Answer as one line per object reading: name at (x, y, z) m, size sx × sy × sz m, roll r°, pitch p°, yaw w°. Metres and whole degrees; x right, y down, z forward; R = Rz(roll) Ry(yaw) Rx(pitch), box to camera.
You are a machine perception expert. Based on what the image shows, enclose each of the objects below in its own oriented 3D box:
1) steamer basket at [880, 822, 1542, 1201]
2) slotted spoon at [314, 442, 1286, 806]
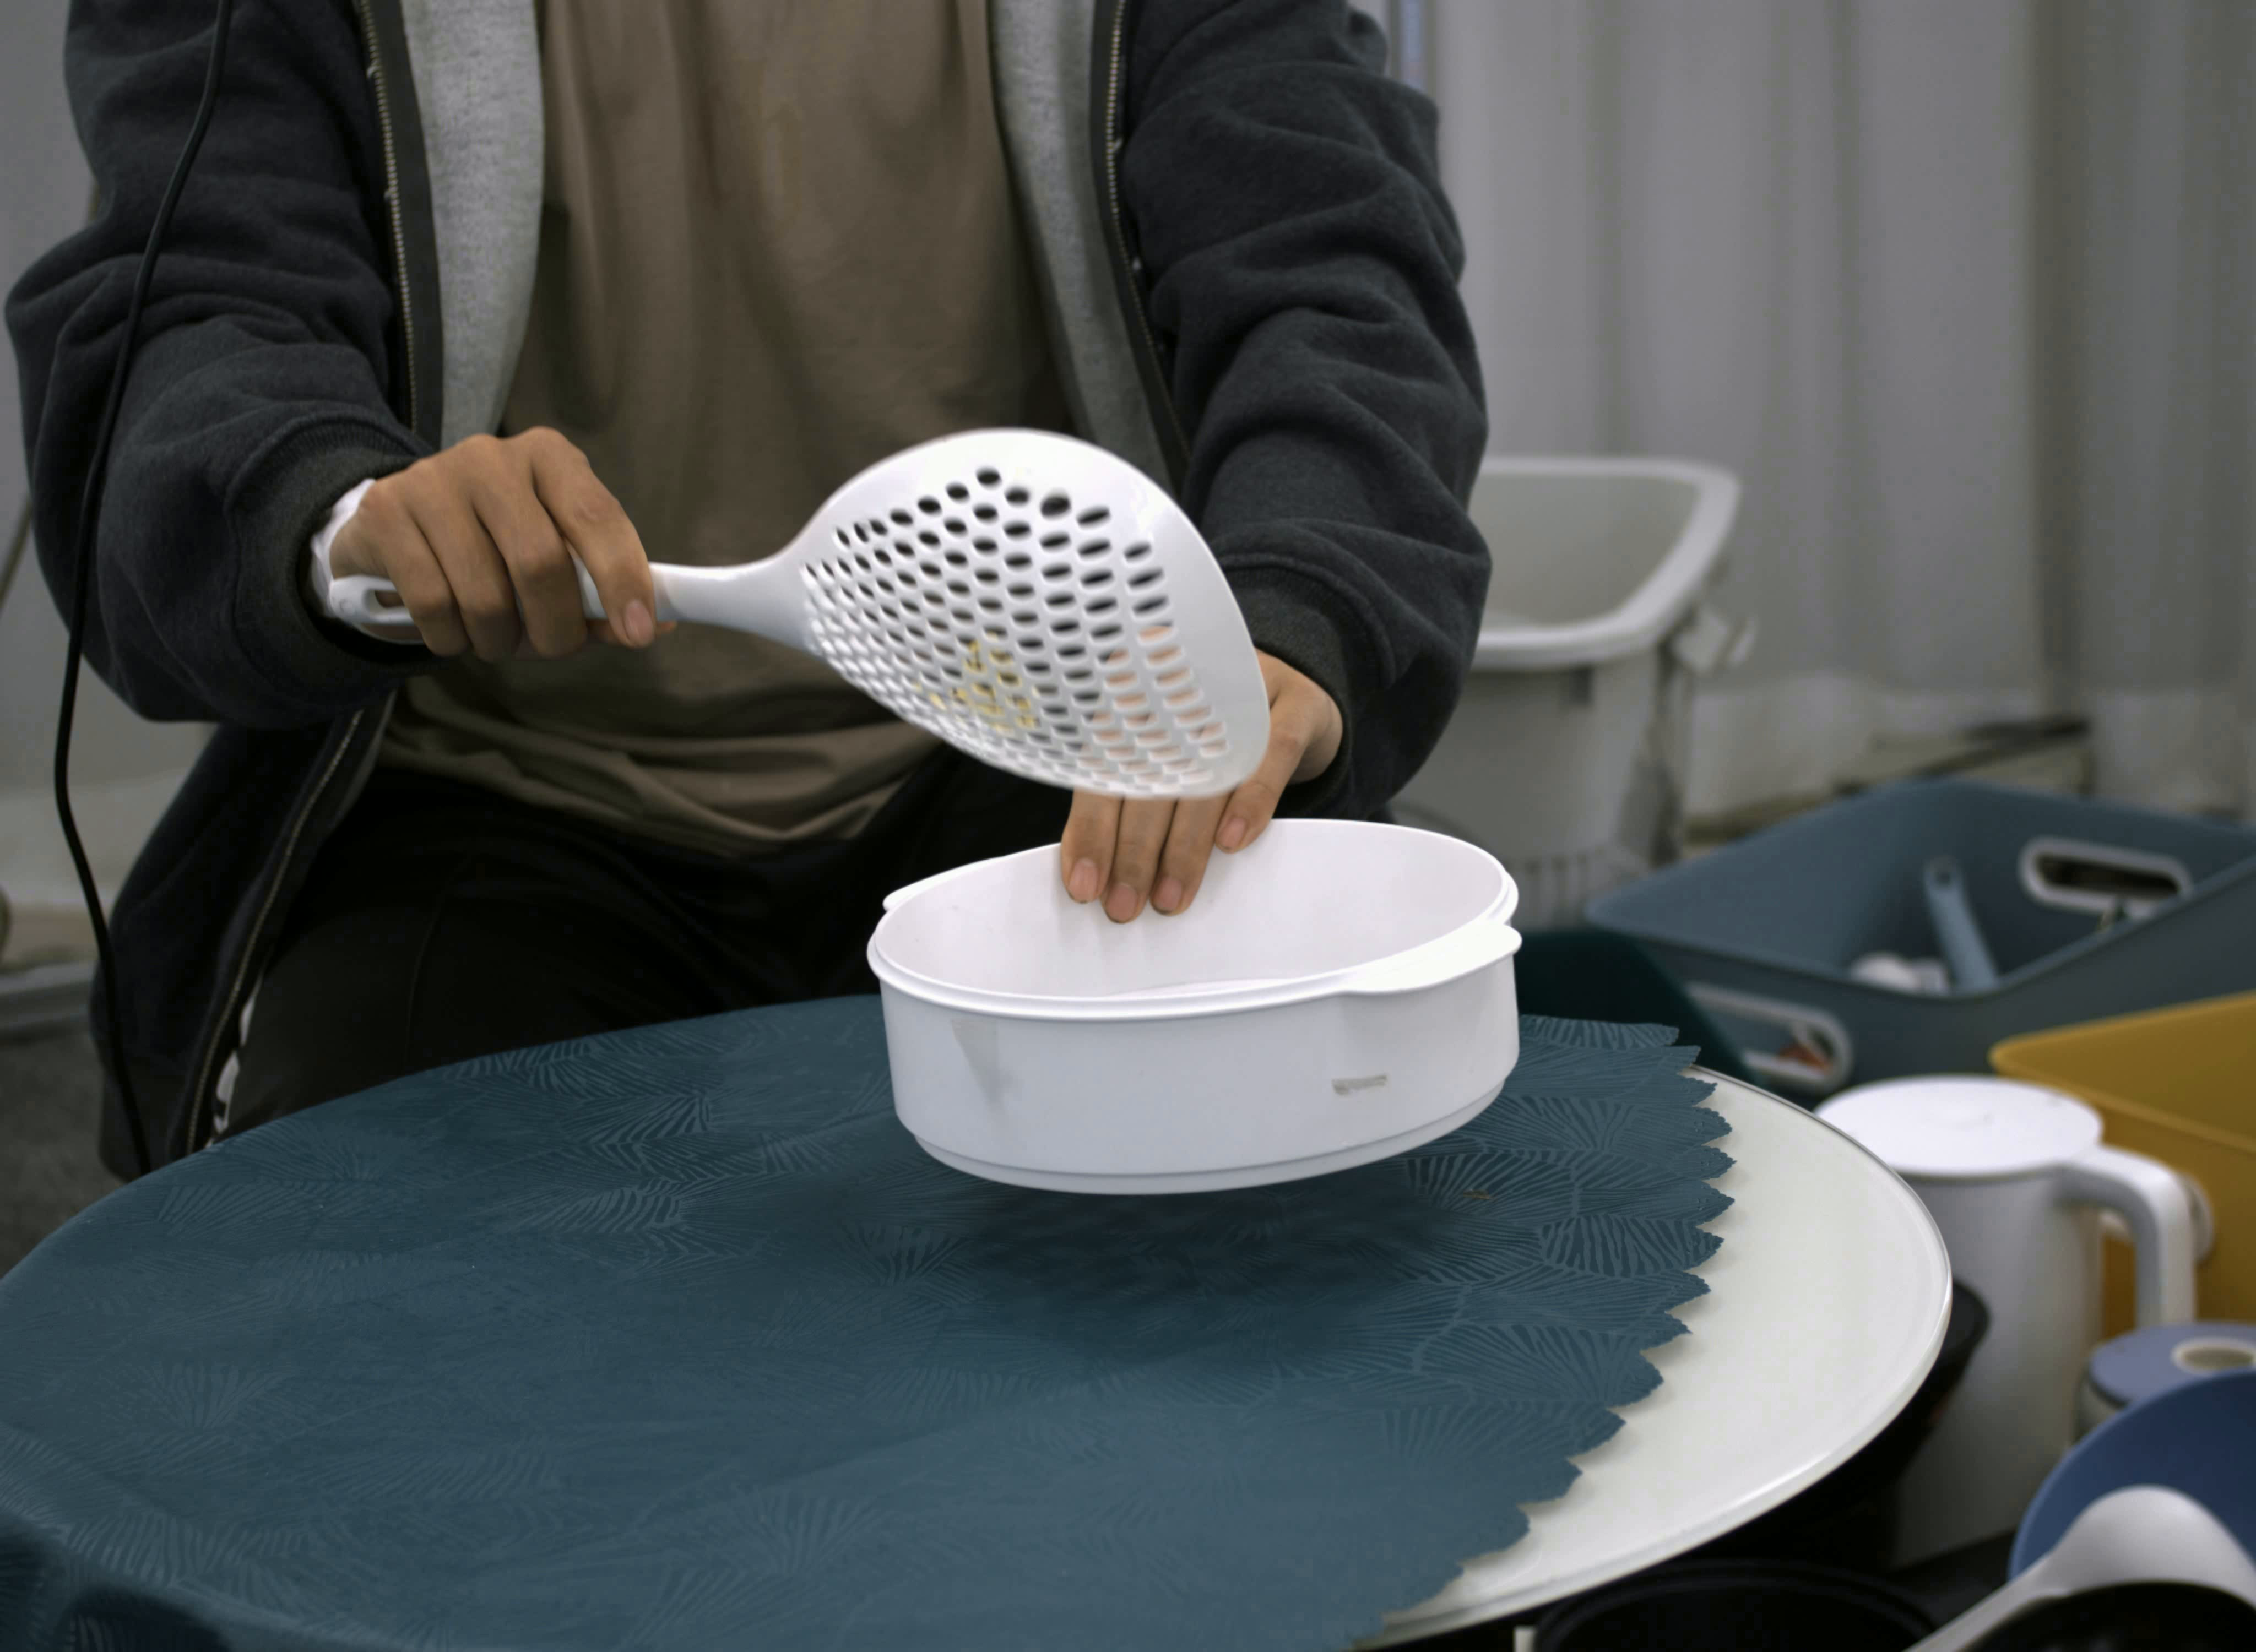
steamer basket at (0.026, 0.056, 1.677) m, size 0.232 × 0.069 × 0.201 m, roll 11°, pitch 21°, yaw 42°
slotted spoon at (-0.109, -0.060, 1.680) m, size 0.349 × 0.135 × 0.050 m, roll 9°, pitch 45°, yaw 37°
